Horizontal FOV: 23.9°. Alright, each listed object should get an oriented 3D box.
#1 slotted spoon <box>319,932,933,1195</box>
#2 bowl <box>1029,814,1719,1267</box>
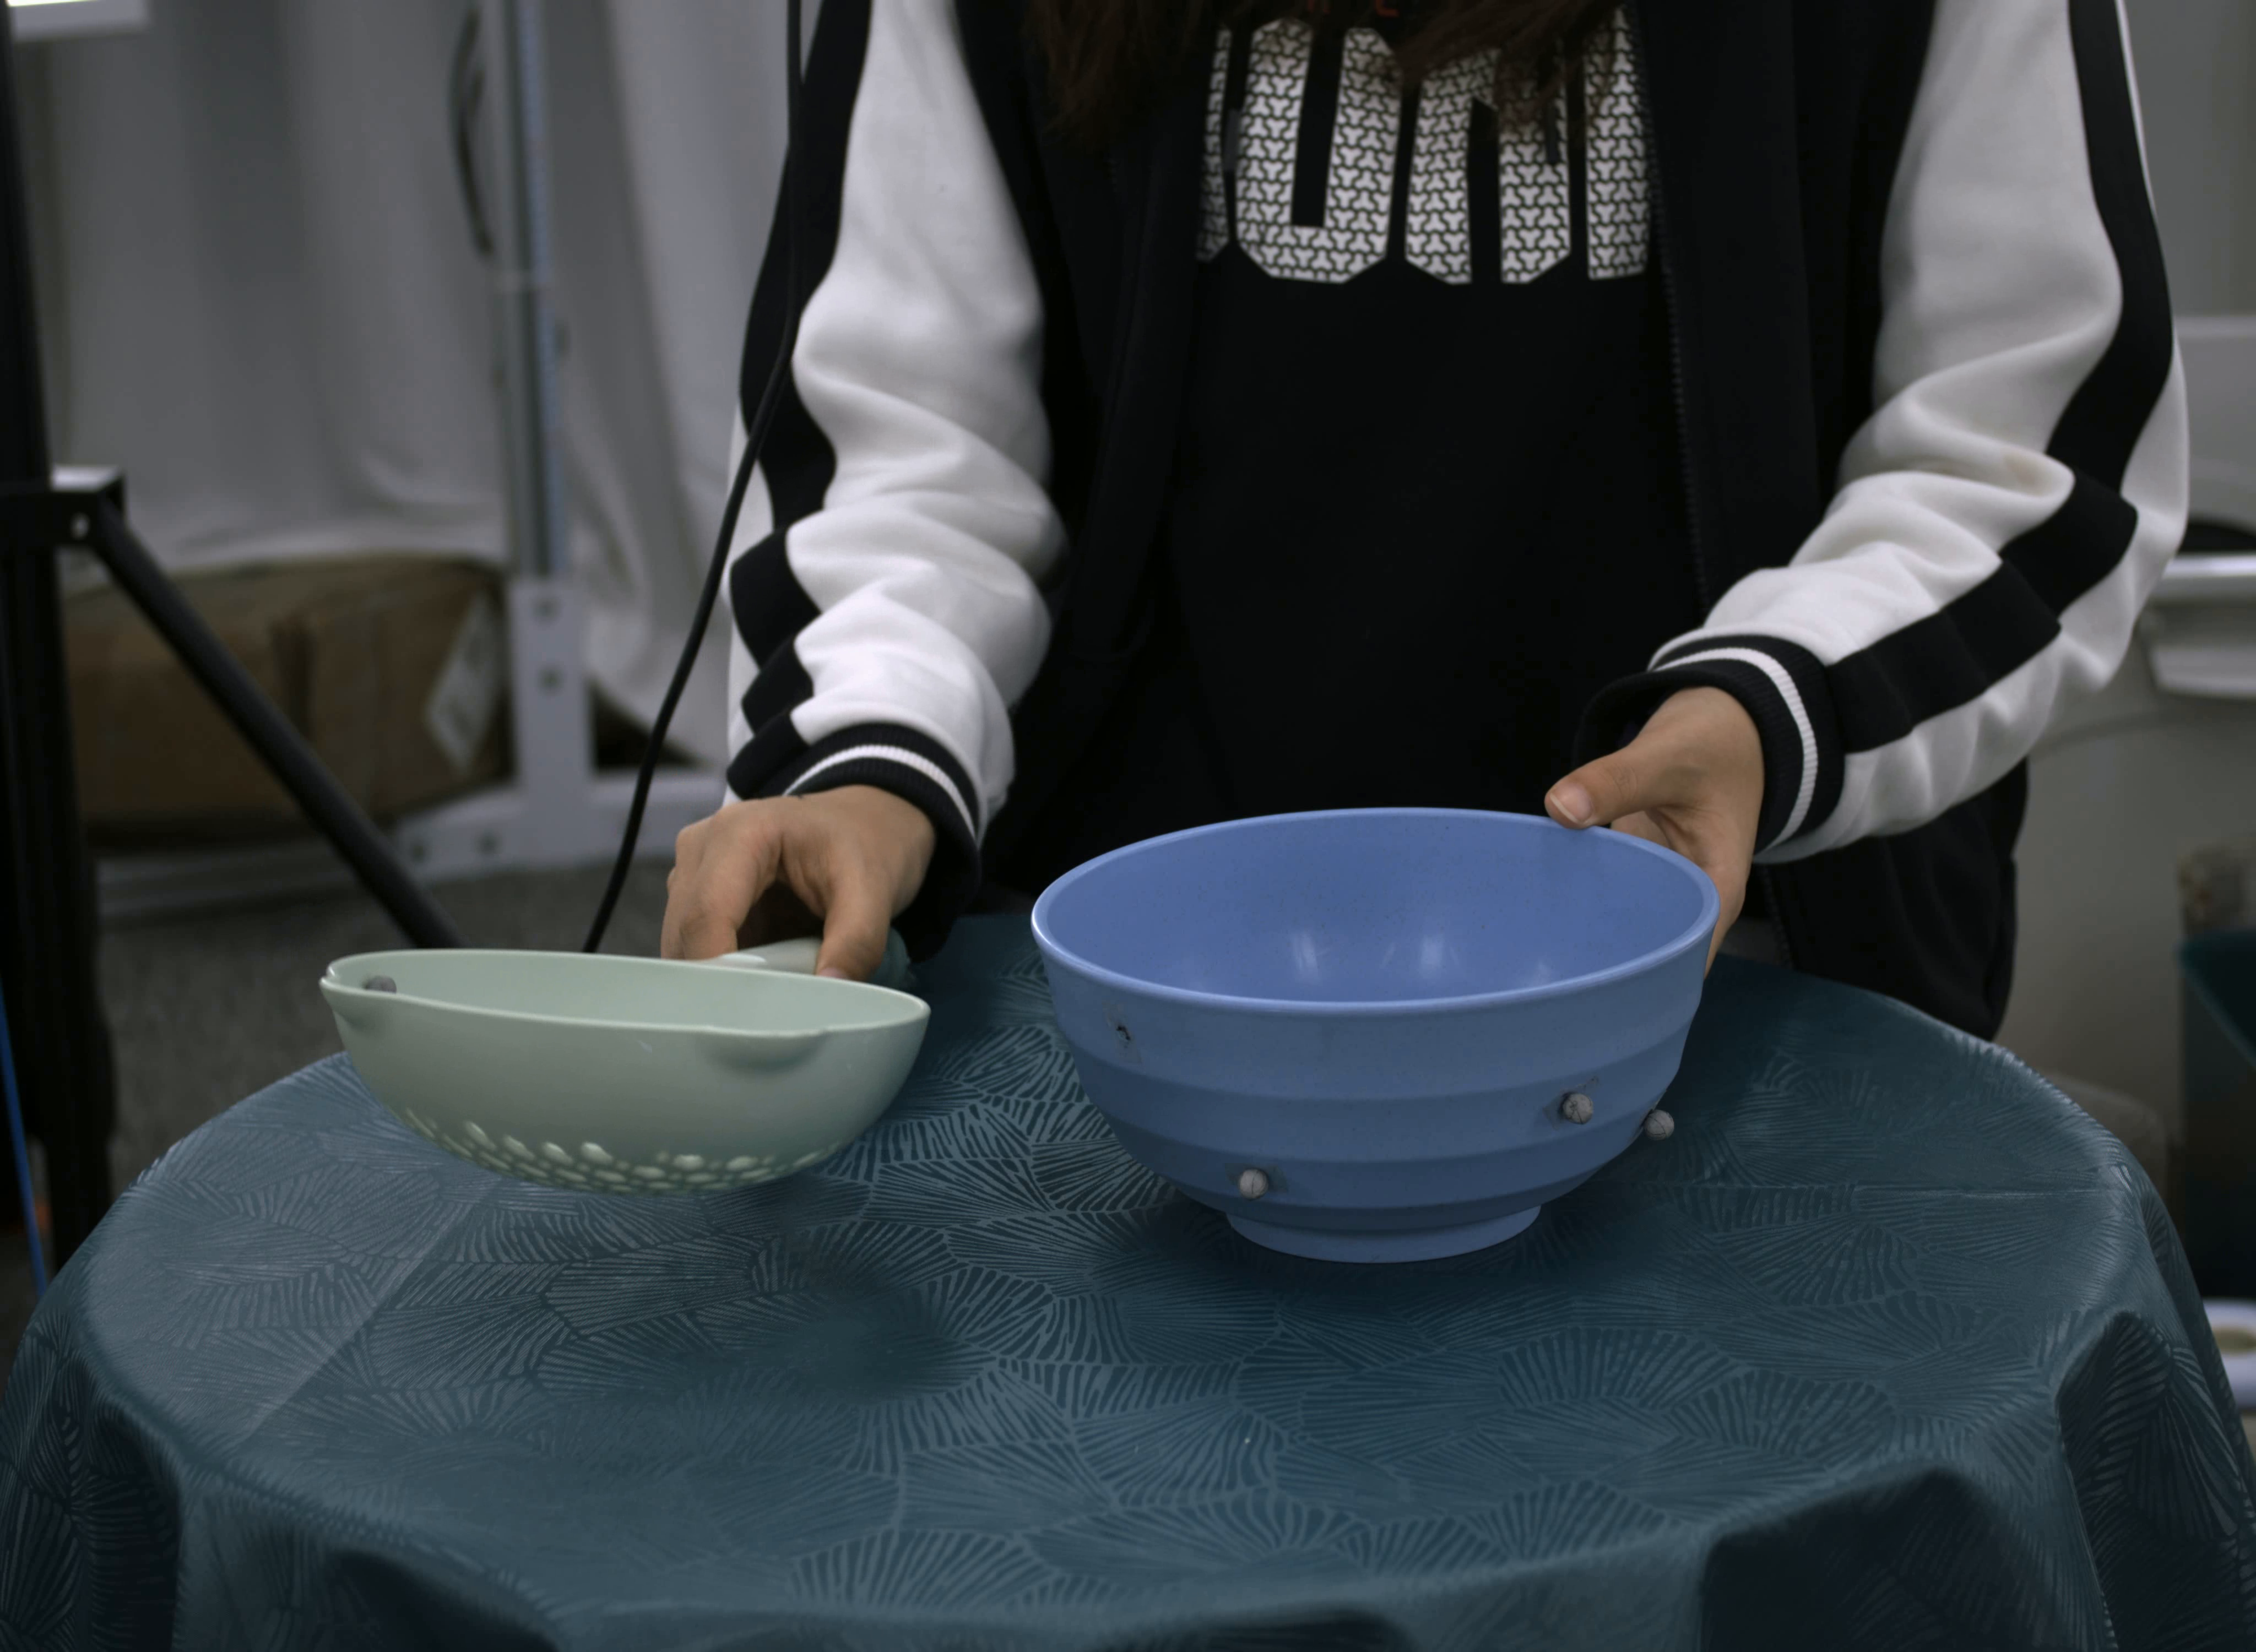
[{"bbox_3d":[-0.118,0.054,1.581,0.170,0.075,0.355,6,11,13],"label":"slotted spoon"},{"bbox_3d":[0.072,0.067,1.520,0.195,0.095,0.197,-3,15,-1],"label":"bowl"}]
